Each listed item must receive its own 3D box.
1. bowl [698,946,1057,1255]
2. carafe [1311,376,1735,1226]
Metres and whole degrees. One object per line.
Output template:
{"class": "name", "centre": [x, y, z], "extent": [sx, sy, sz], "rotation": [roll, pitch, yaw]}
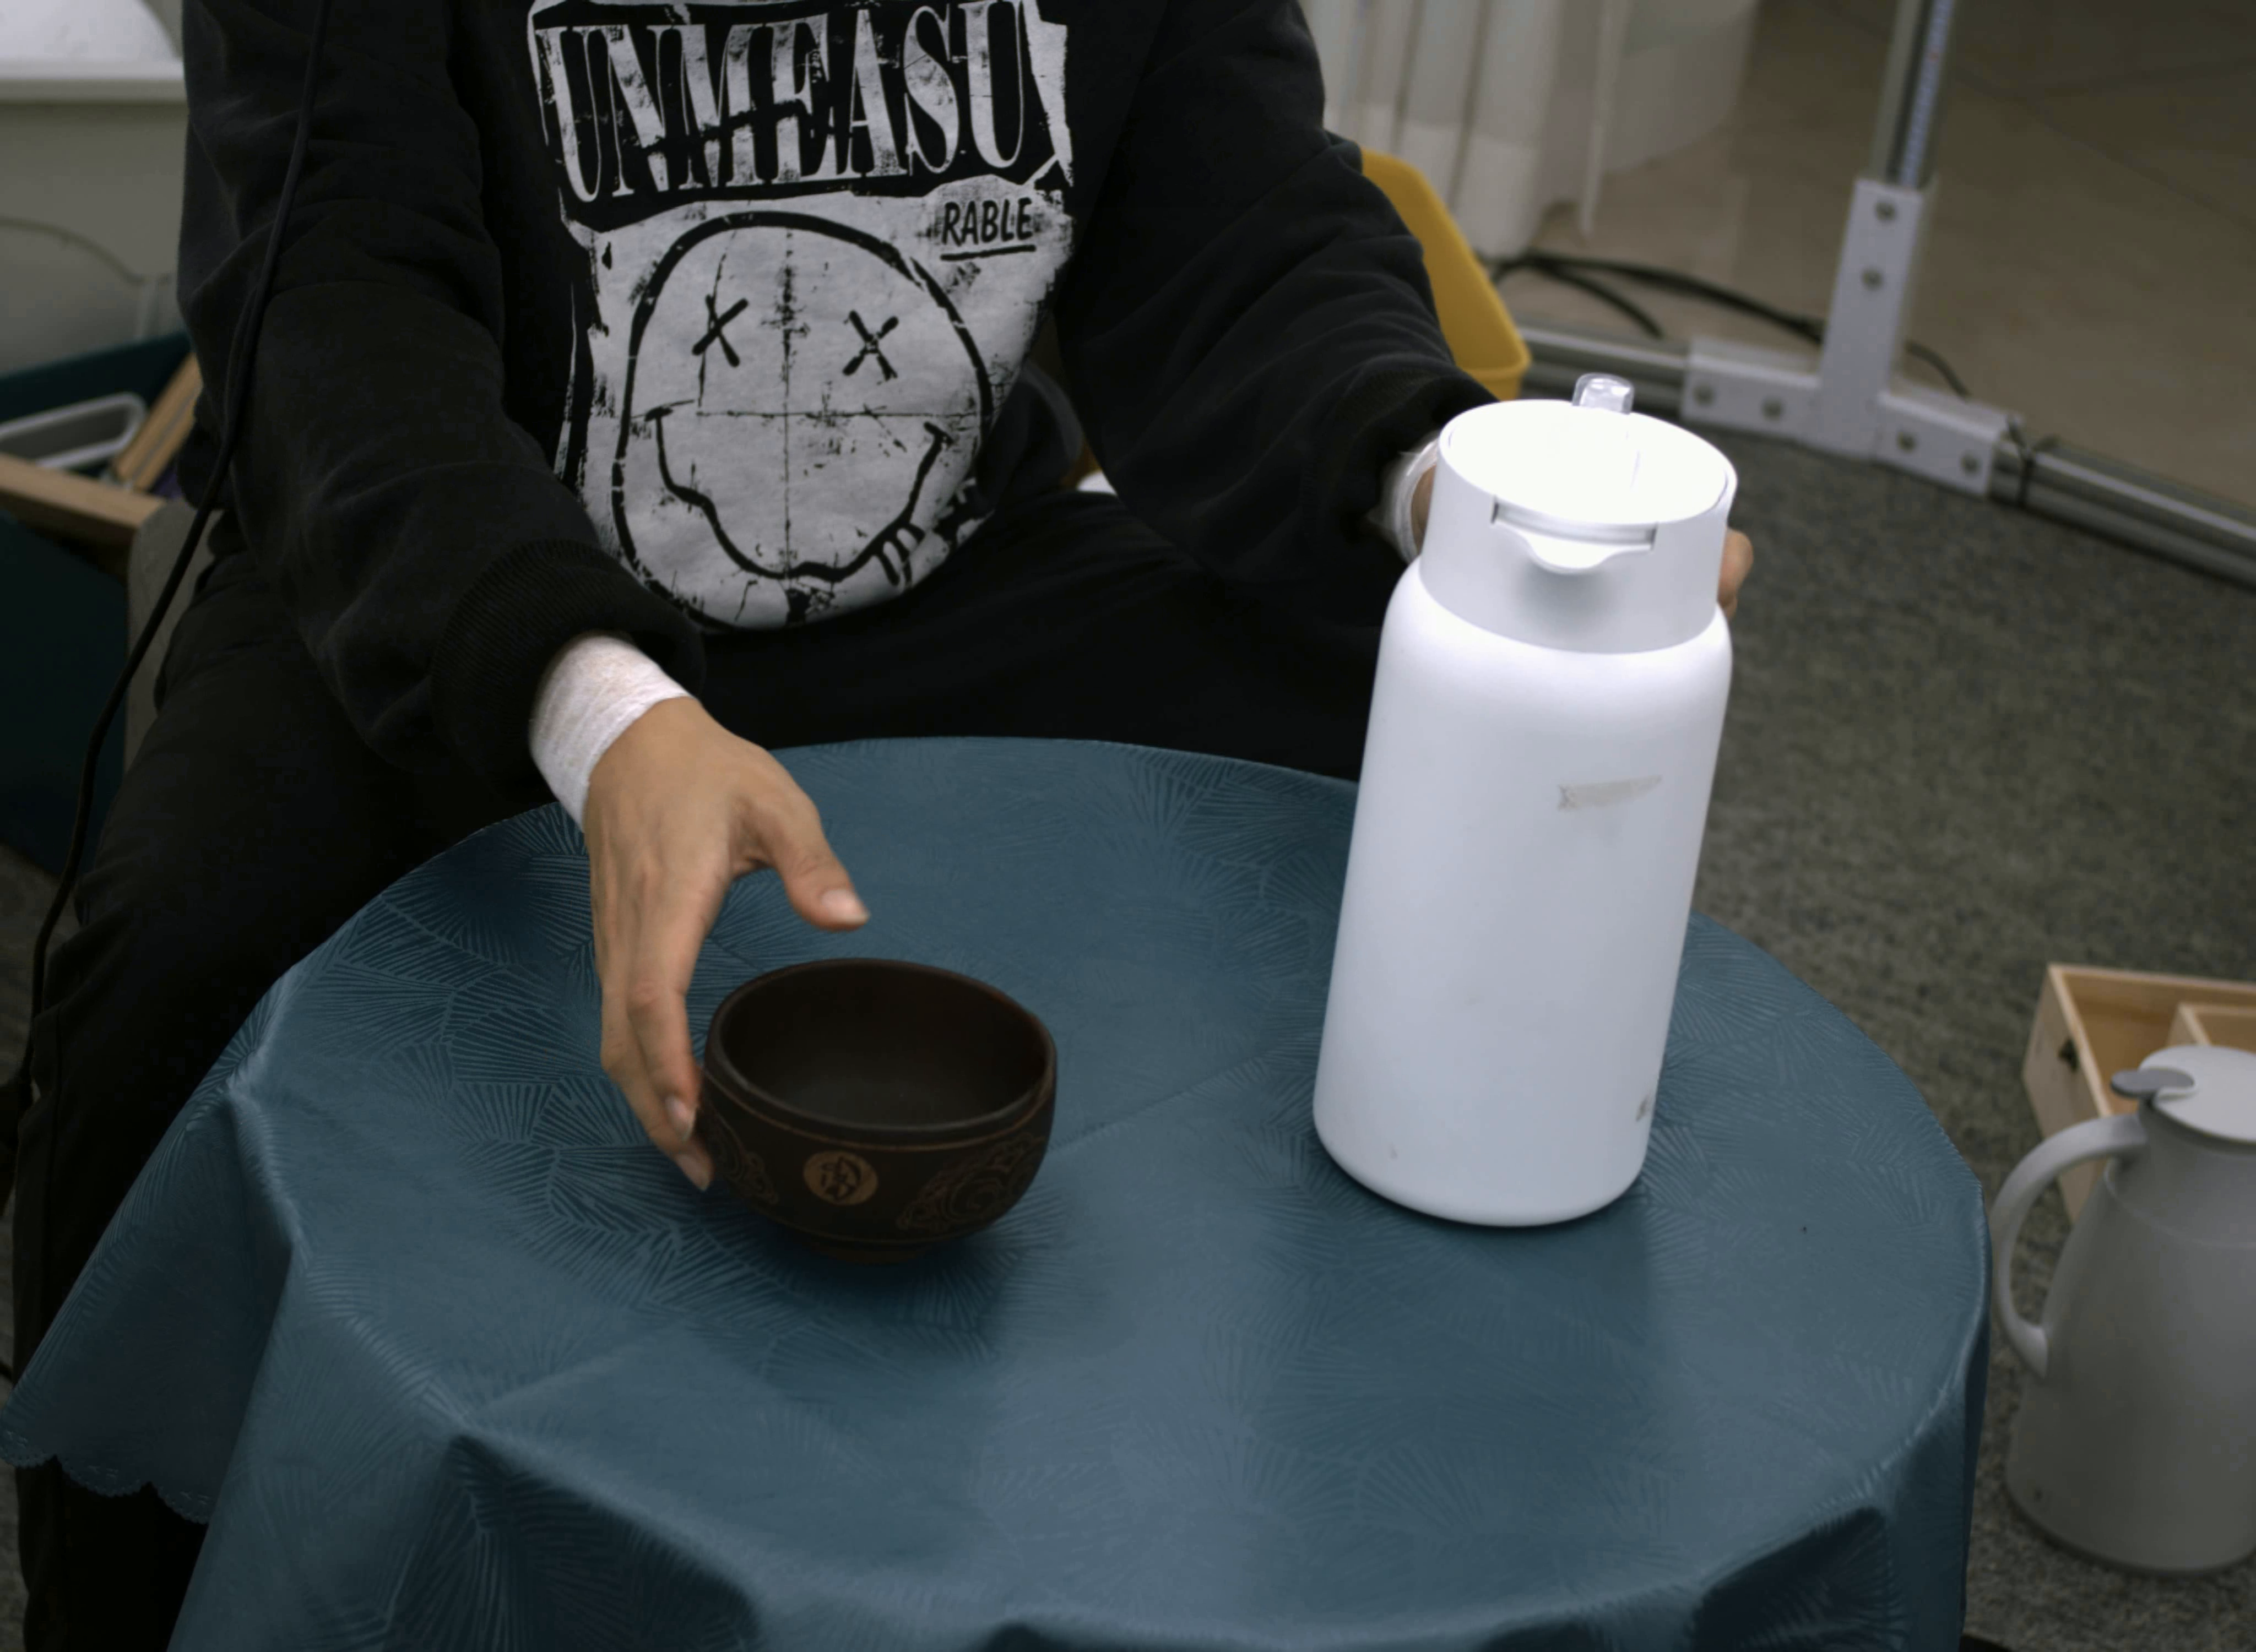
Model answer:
{"class": "bowl", "centre": [-0.084, 0.098, 1.756], "extent": [0.117, 0.069, 0.119], "rotation": [6, 28, -3]}
{"class": "carafe", "centre": [0.136, -0.013, 1.810], "extent": [0.123, 0.268, 0.173], "rotation": [7, 26, 6]}
